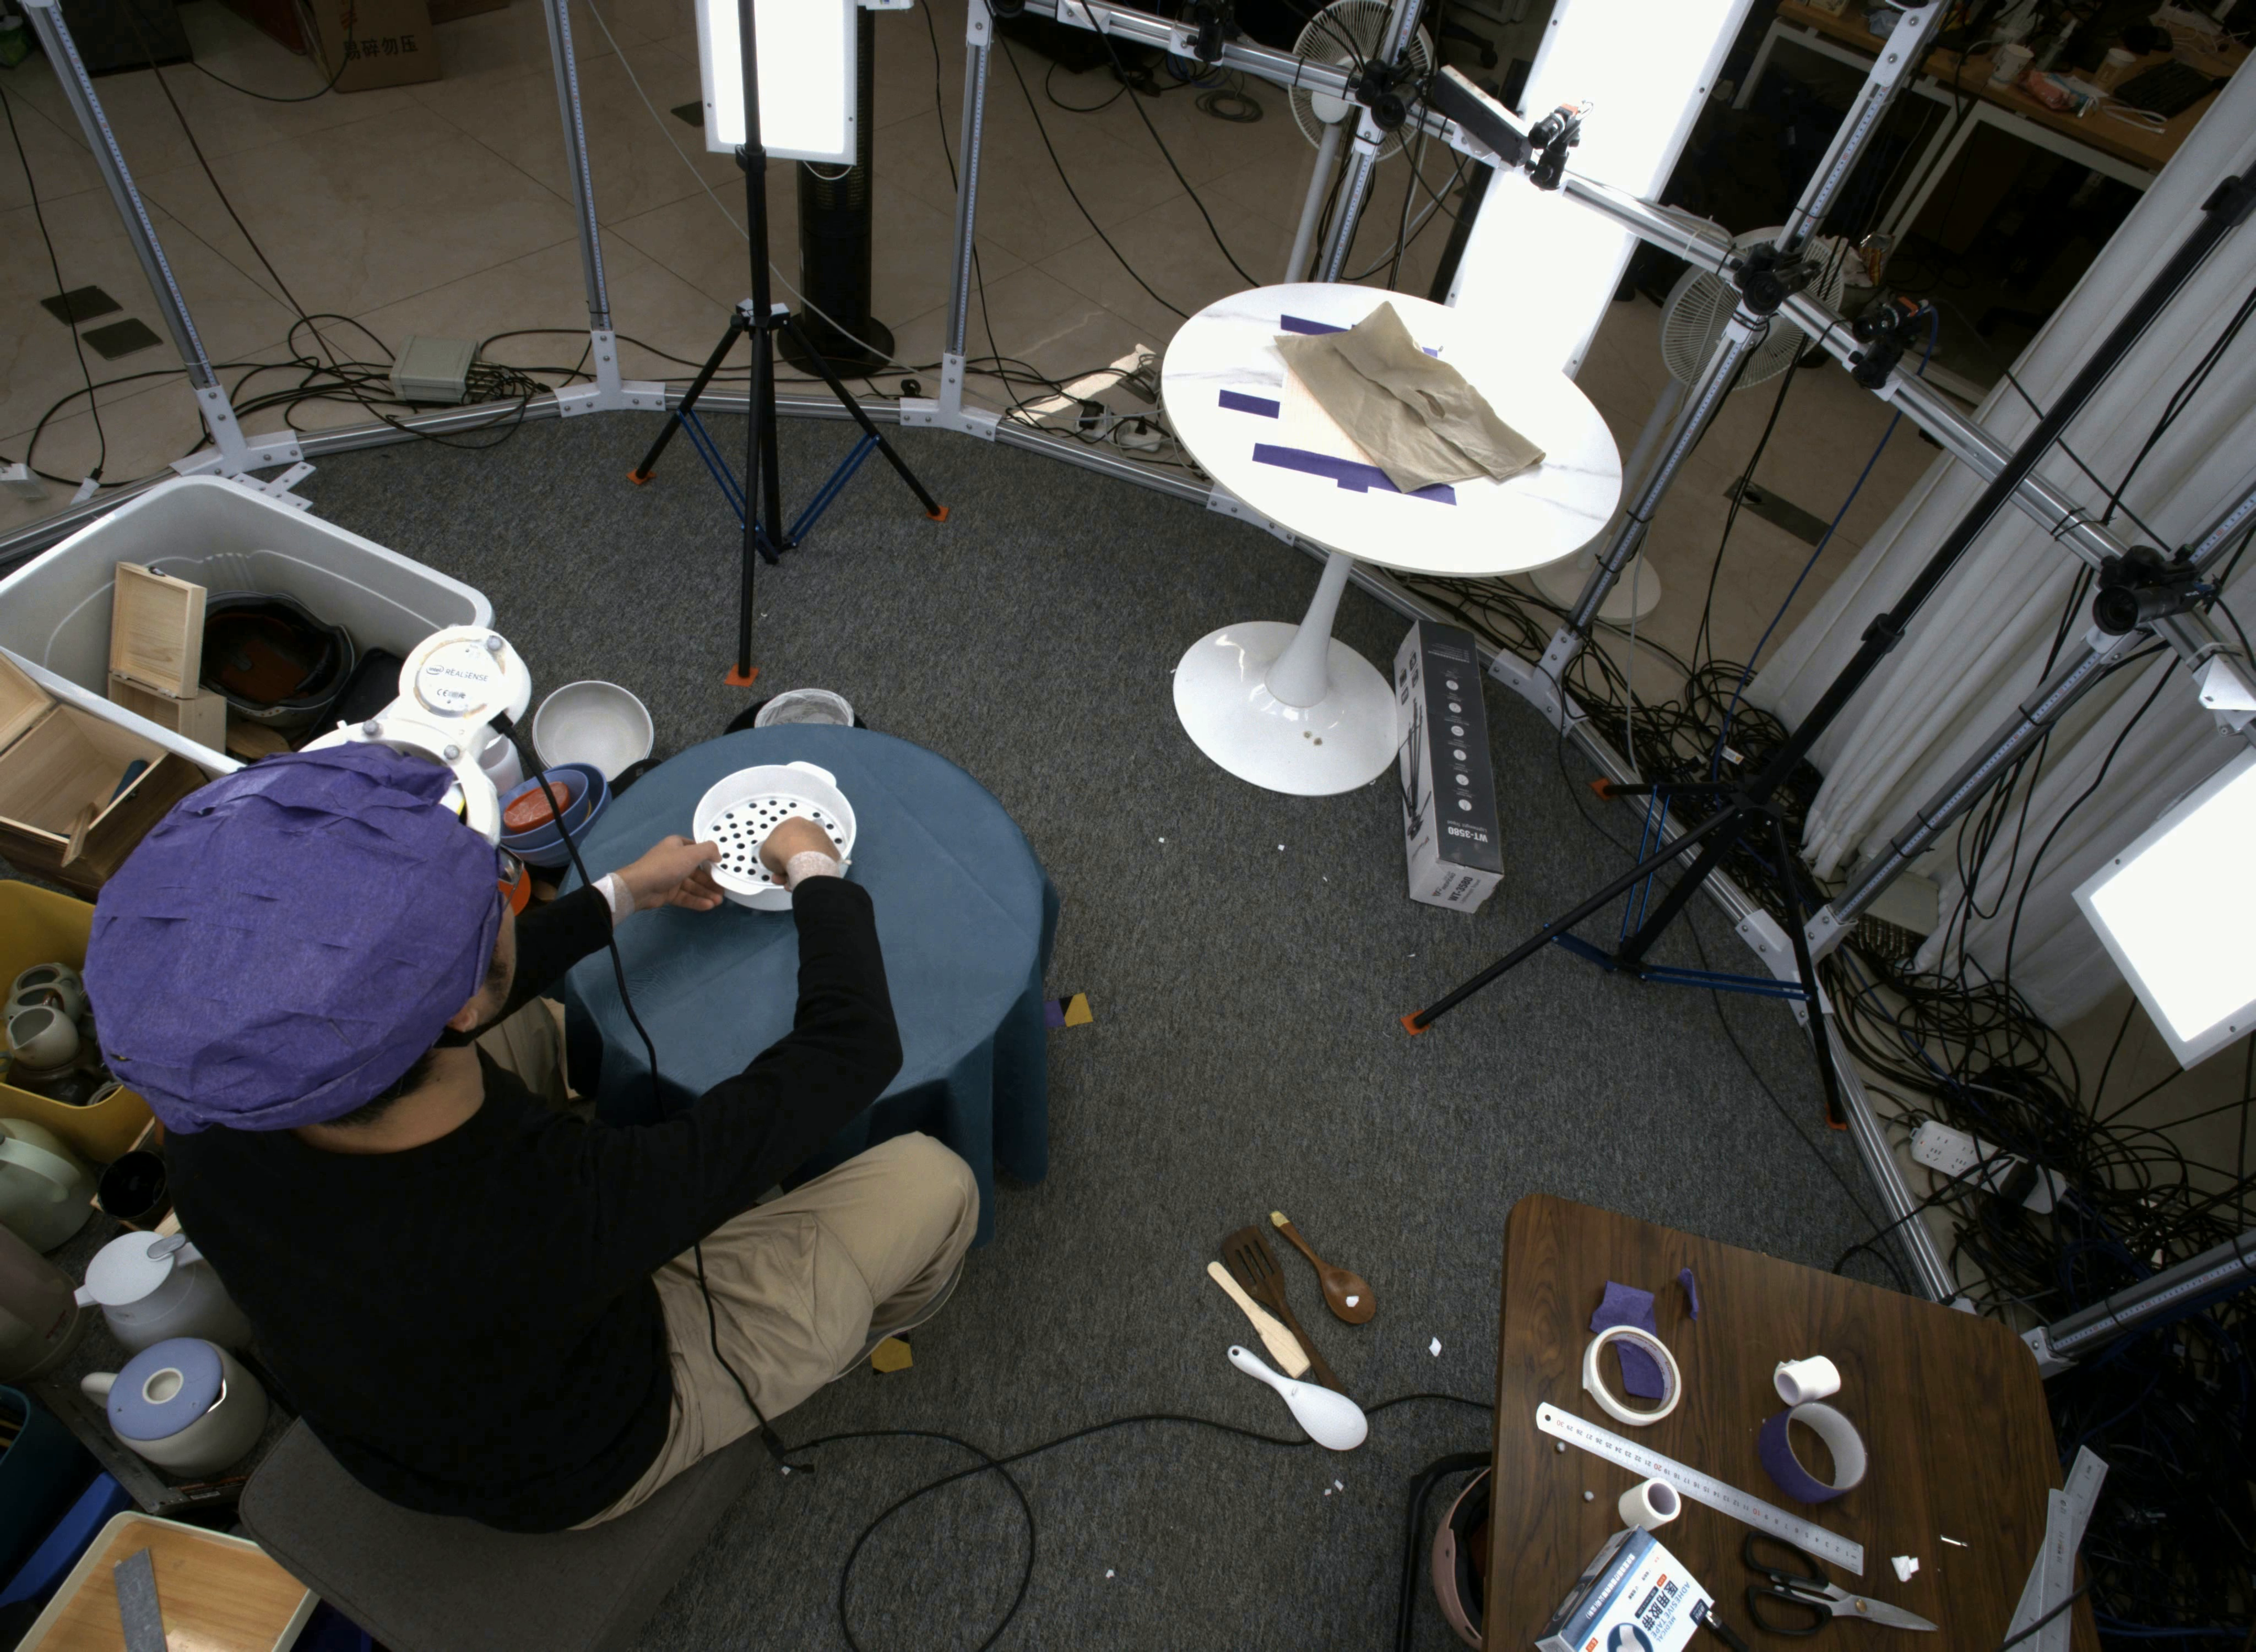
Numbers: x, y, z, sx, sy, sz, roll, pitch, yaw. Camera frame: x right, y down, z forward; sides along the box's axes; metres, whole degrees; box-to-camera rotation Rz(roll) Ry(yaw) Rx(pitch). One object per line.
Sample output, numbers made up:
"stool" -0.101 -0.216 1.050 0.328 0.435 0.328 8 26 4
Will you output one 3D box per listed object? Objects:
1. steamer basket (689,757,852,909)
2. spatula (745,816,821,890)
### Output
"steamer basket" -0.454 0.012 1.652 0.200 0.070 0.228 22 49 2
"spatula" -0.400 0.030 1.499 0.098 0.358 0.045 -22 98 -11
